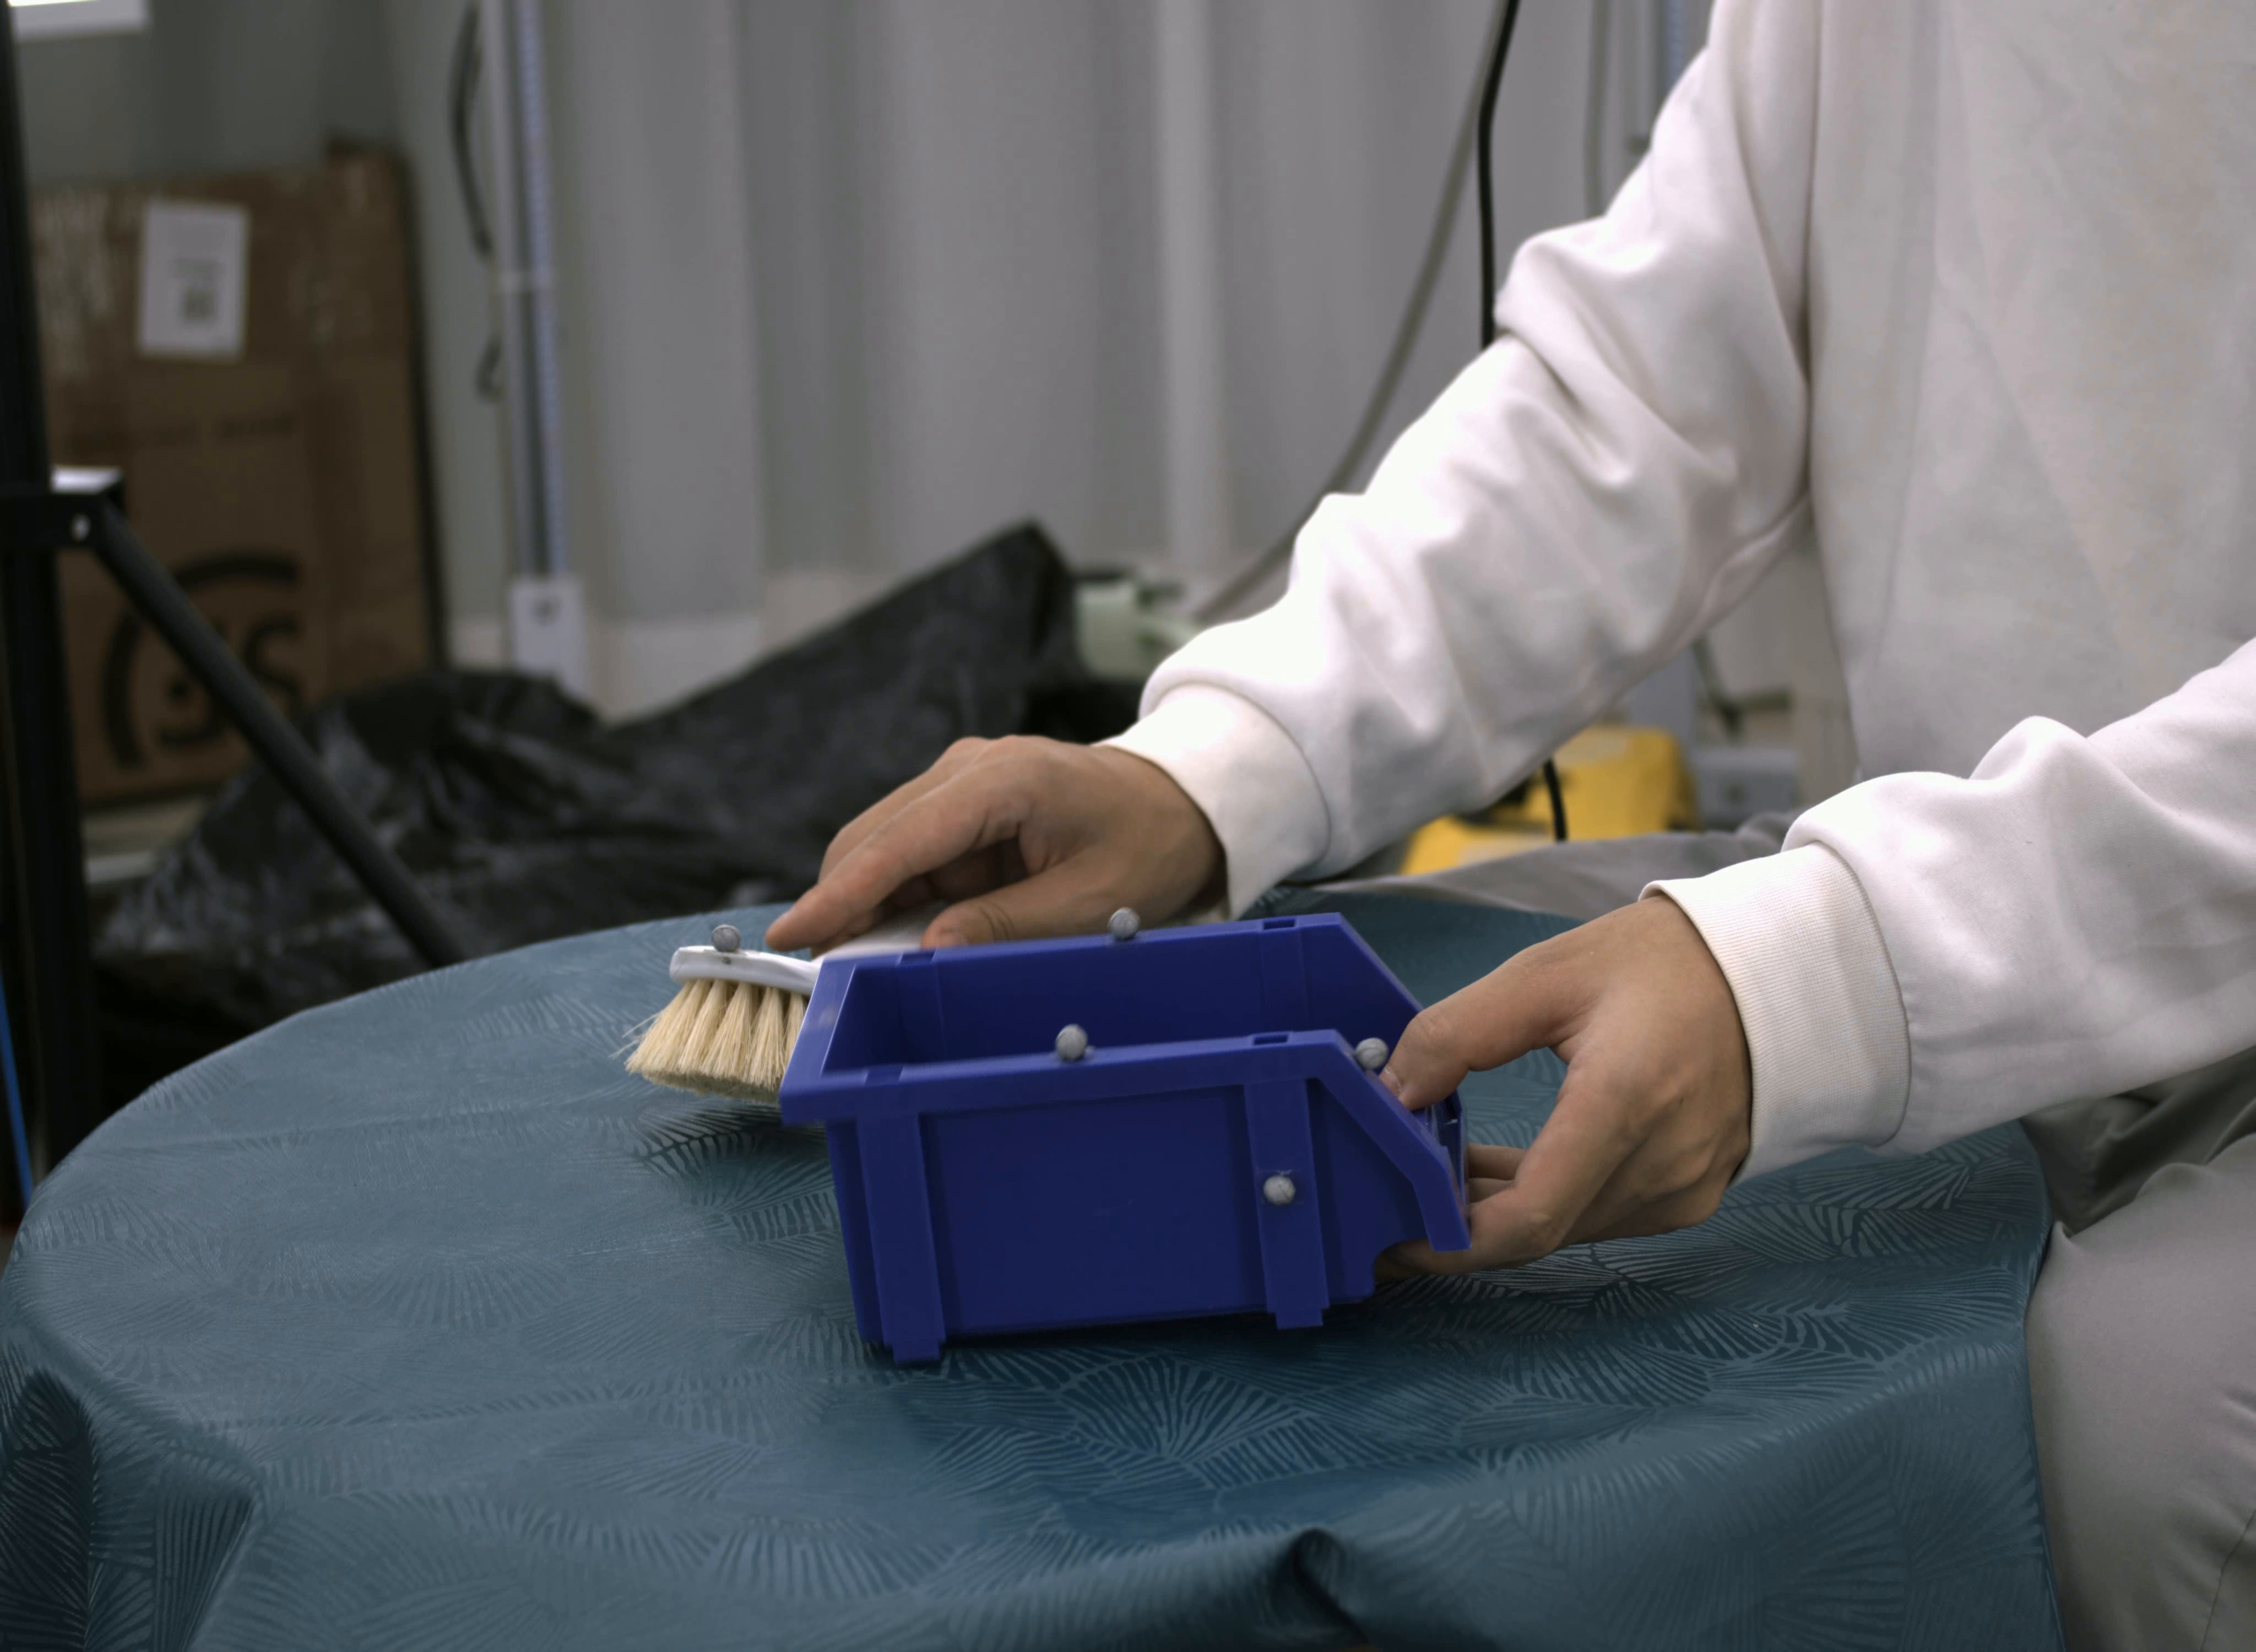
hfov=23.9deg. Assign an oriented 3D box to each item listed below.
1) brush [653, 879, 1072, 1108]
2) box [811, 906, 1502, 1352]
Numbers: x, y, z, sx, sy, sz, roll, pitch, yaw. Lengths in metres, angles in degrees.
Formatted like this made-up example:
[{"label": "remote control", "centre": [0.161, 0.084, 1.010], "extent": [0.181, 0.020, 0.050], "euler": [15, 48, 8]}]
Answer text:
[{"label": "brush", "centre": [-0.074, 0.052, 1.712], "extent": [0.069, 0.056, 0.262], "euler": [15, 7, 18]}, {"label": "box", "centre": [0.012, 0.081, 1.469], "extent": [0.179, 0.082, 0.124], "euler": [-6, 15, 7]}]
